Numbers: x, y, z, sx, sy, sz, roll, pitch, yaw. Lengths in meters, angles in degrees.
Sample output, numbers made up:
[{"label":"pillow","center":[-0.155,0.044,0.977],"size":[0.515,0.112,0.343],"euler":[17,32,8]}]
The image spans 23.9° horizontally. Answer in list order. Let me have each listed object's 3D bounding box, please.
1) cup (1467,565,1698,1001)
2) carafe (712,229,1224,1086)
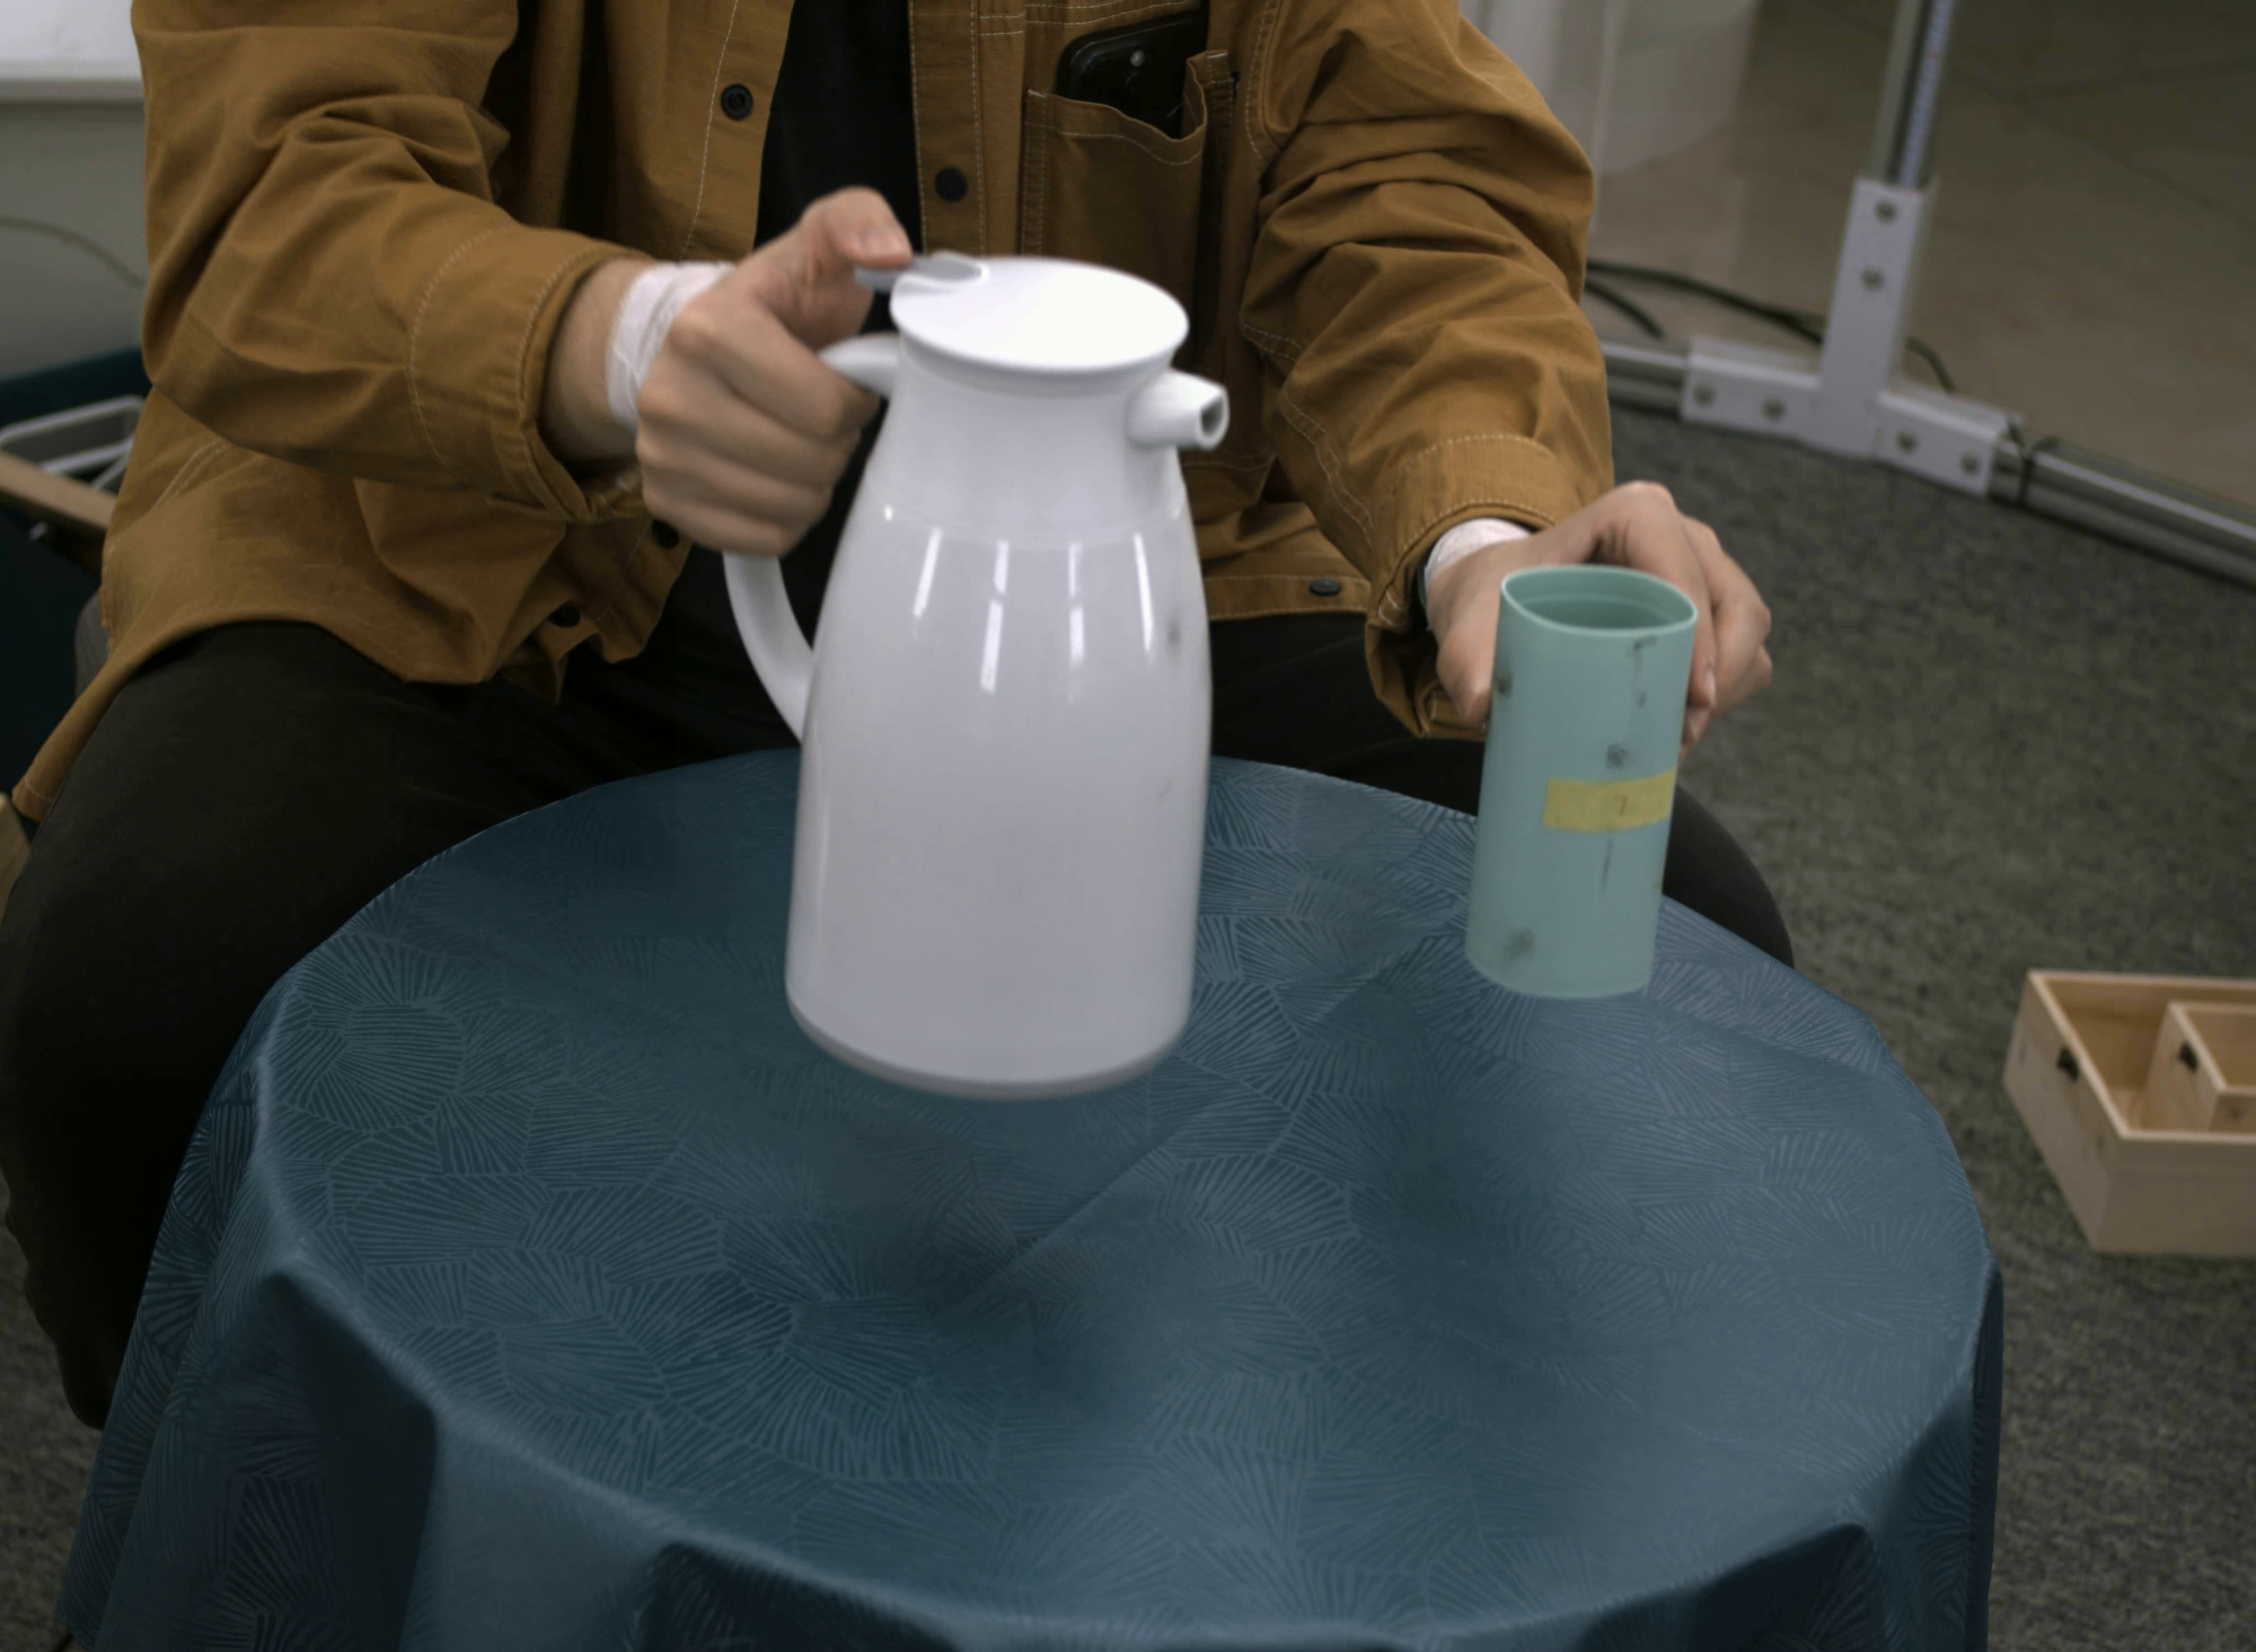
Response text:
[{"label":"cup","center":[0.149,-0.015,1.760],"size":[0.066,0.132,0.067],"euler":[4,22,-2]},{"label":"carafe","center":[-0.056,-0.062,1.678],"size":[0.168,0.248,0.132],"euler":[15,27,21]}]
